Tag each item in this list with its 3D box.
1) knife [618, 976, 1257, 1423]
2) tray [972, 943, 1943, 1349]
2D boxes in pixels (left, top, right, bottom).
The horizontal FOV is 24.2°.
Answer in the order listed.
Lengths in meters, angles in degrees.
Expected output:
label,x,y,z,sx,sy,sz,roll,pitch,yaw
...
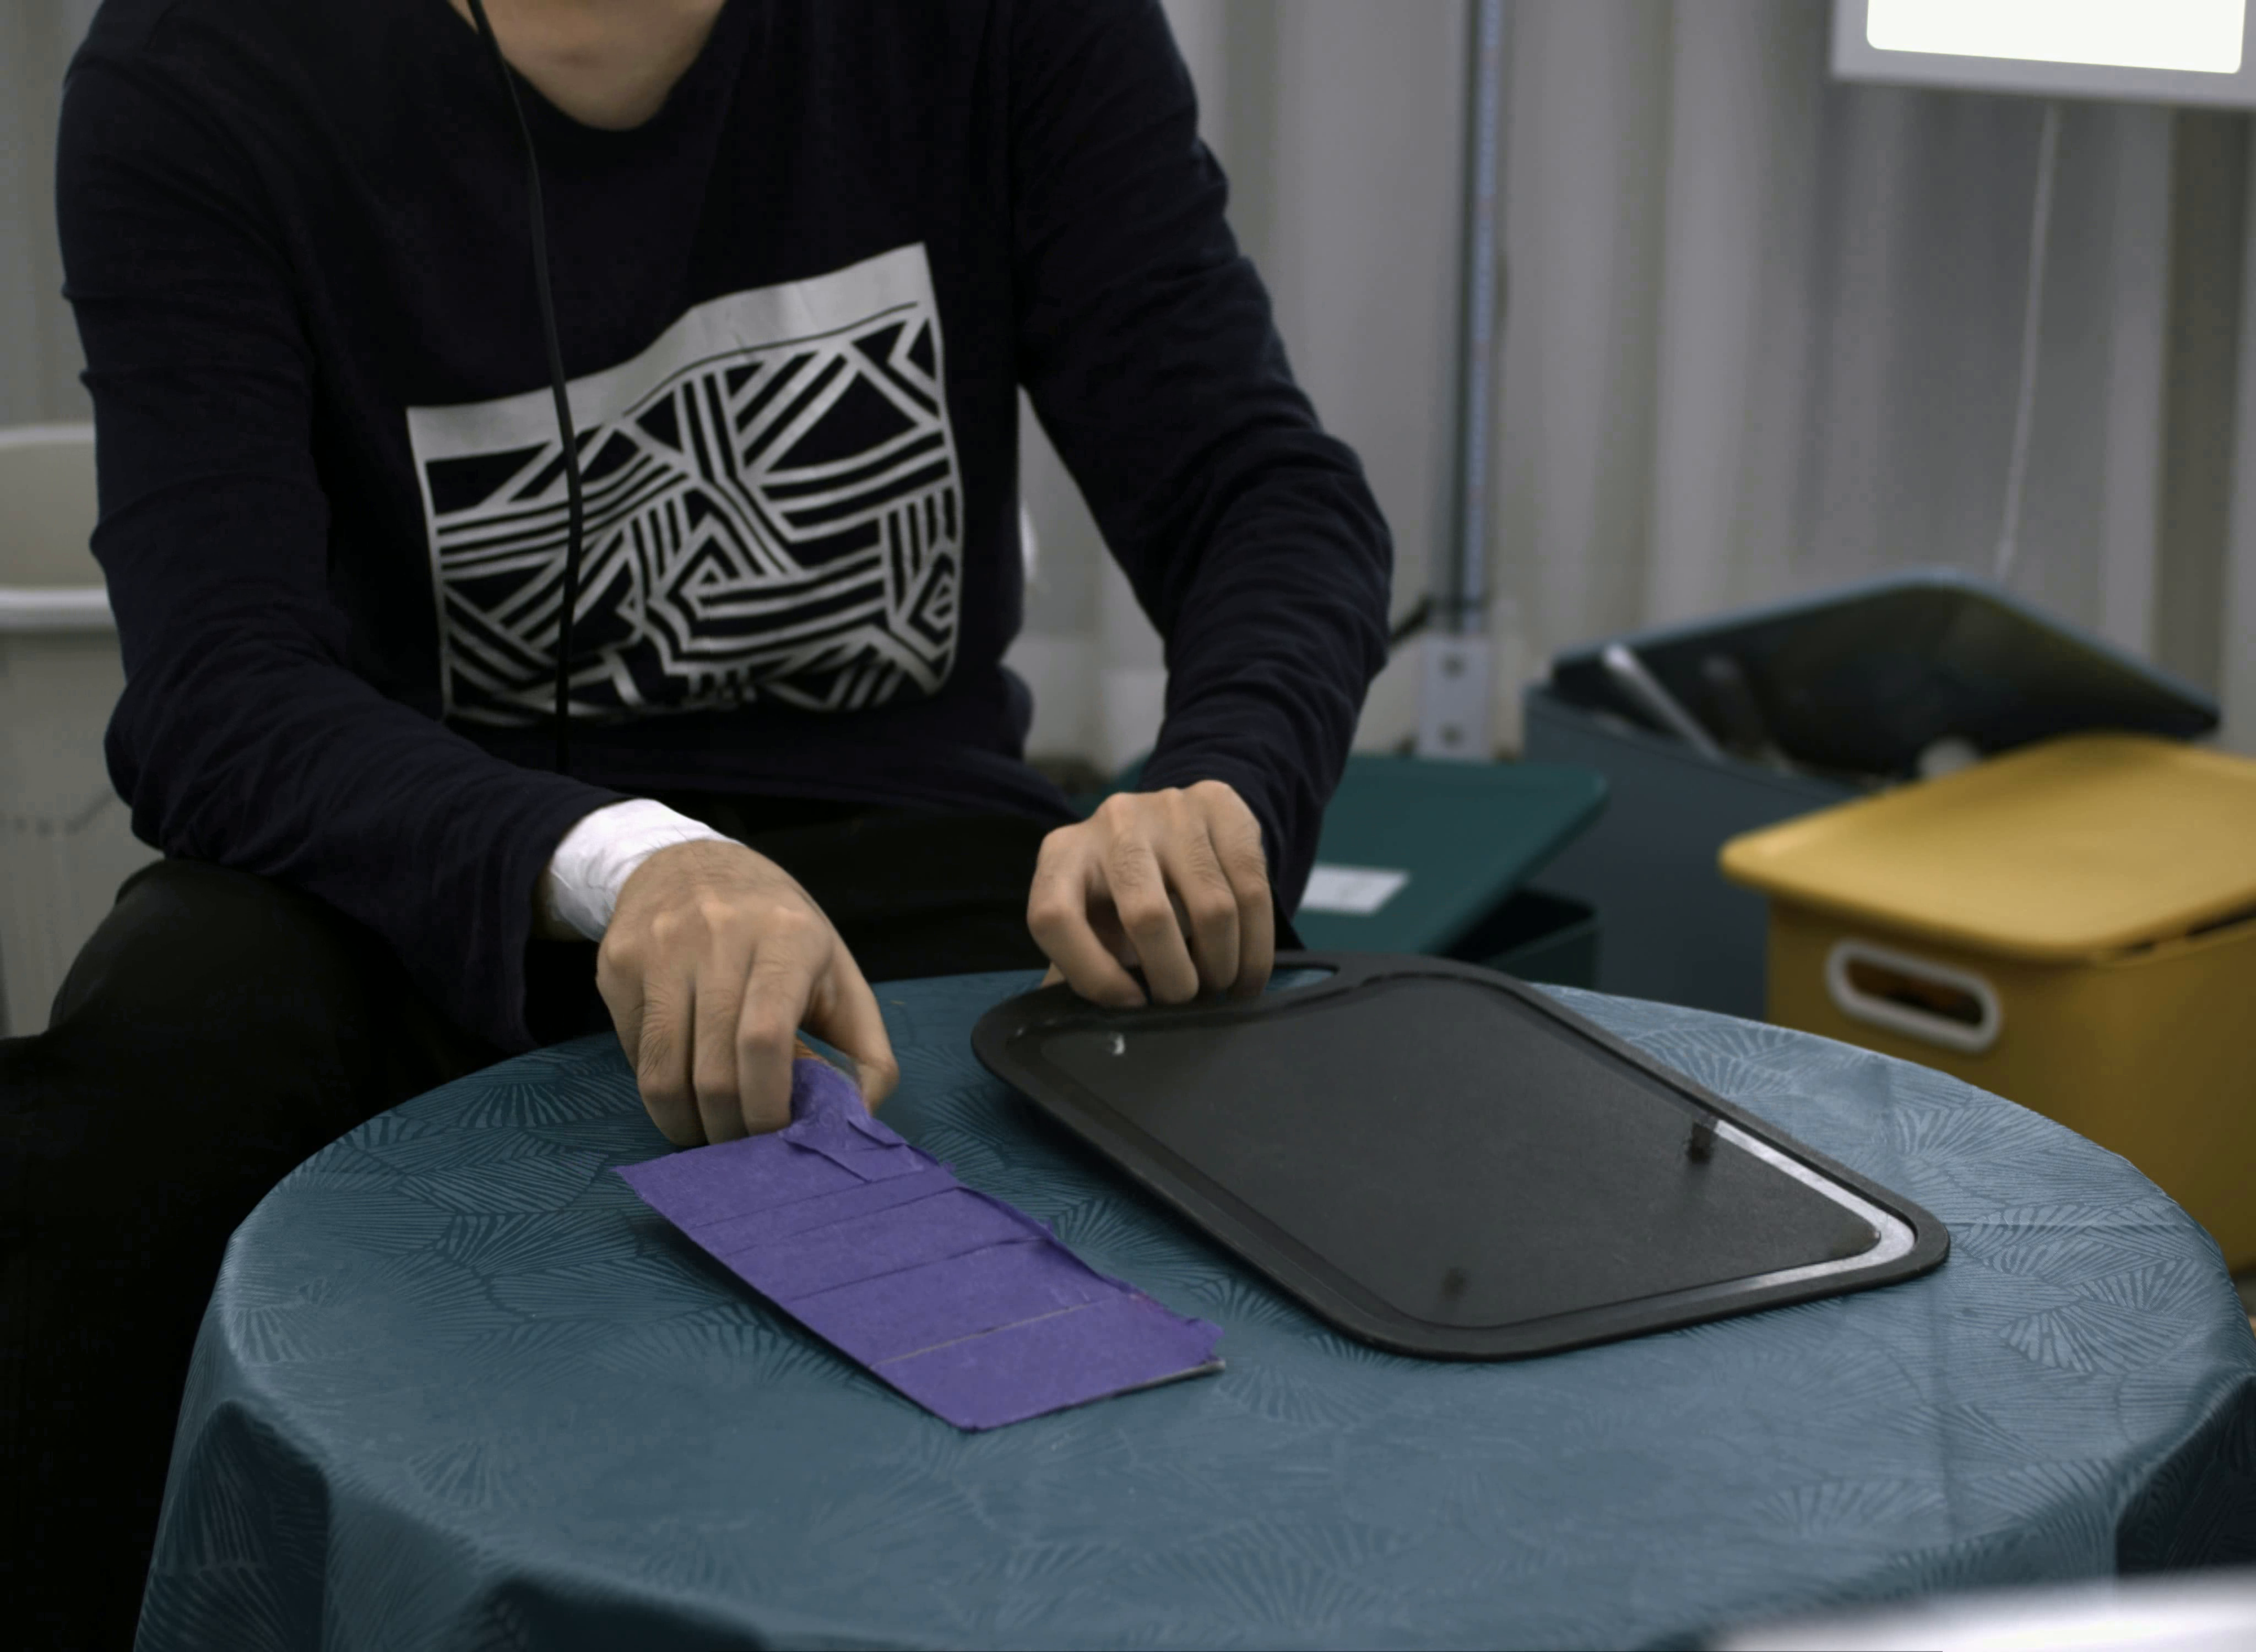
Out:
label,x,y,z,sx,sy,sz,roll,pitch,yaw
knife,-0.091,0.107,1.570,0.104,0.032,0.311,-10,21,-33
tray,0.092,0.092,1.650,0.212,0.010,0.321,-7,21,-28
